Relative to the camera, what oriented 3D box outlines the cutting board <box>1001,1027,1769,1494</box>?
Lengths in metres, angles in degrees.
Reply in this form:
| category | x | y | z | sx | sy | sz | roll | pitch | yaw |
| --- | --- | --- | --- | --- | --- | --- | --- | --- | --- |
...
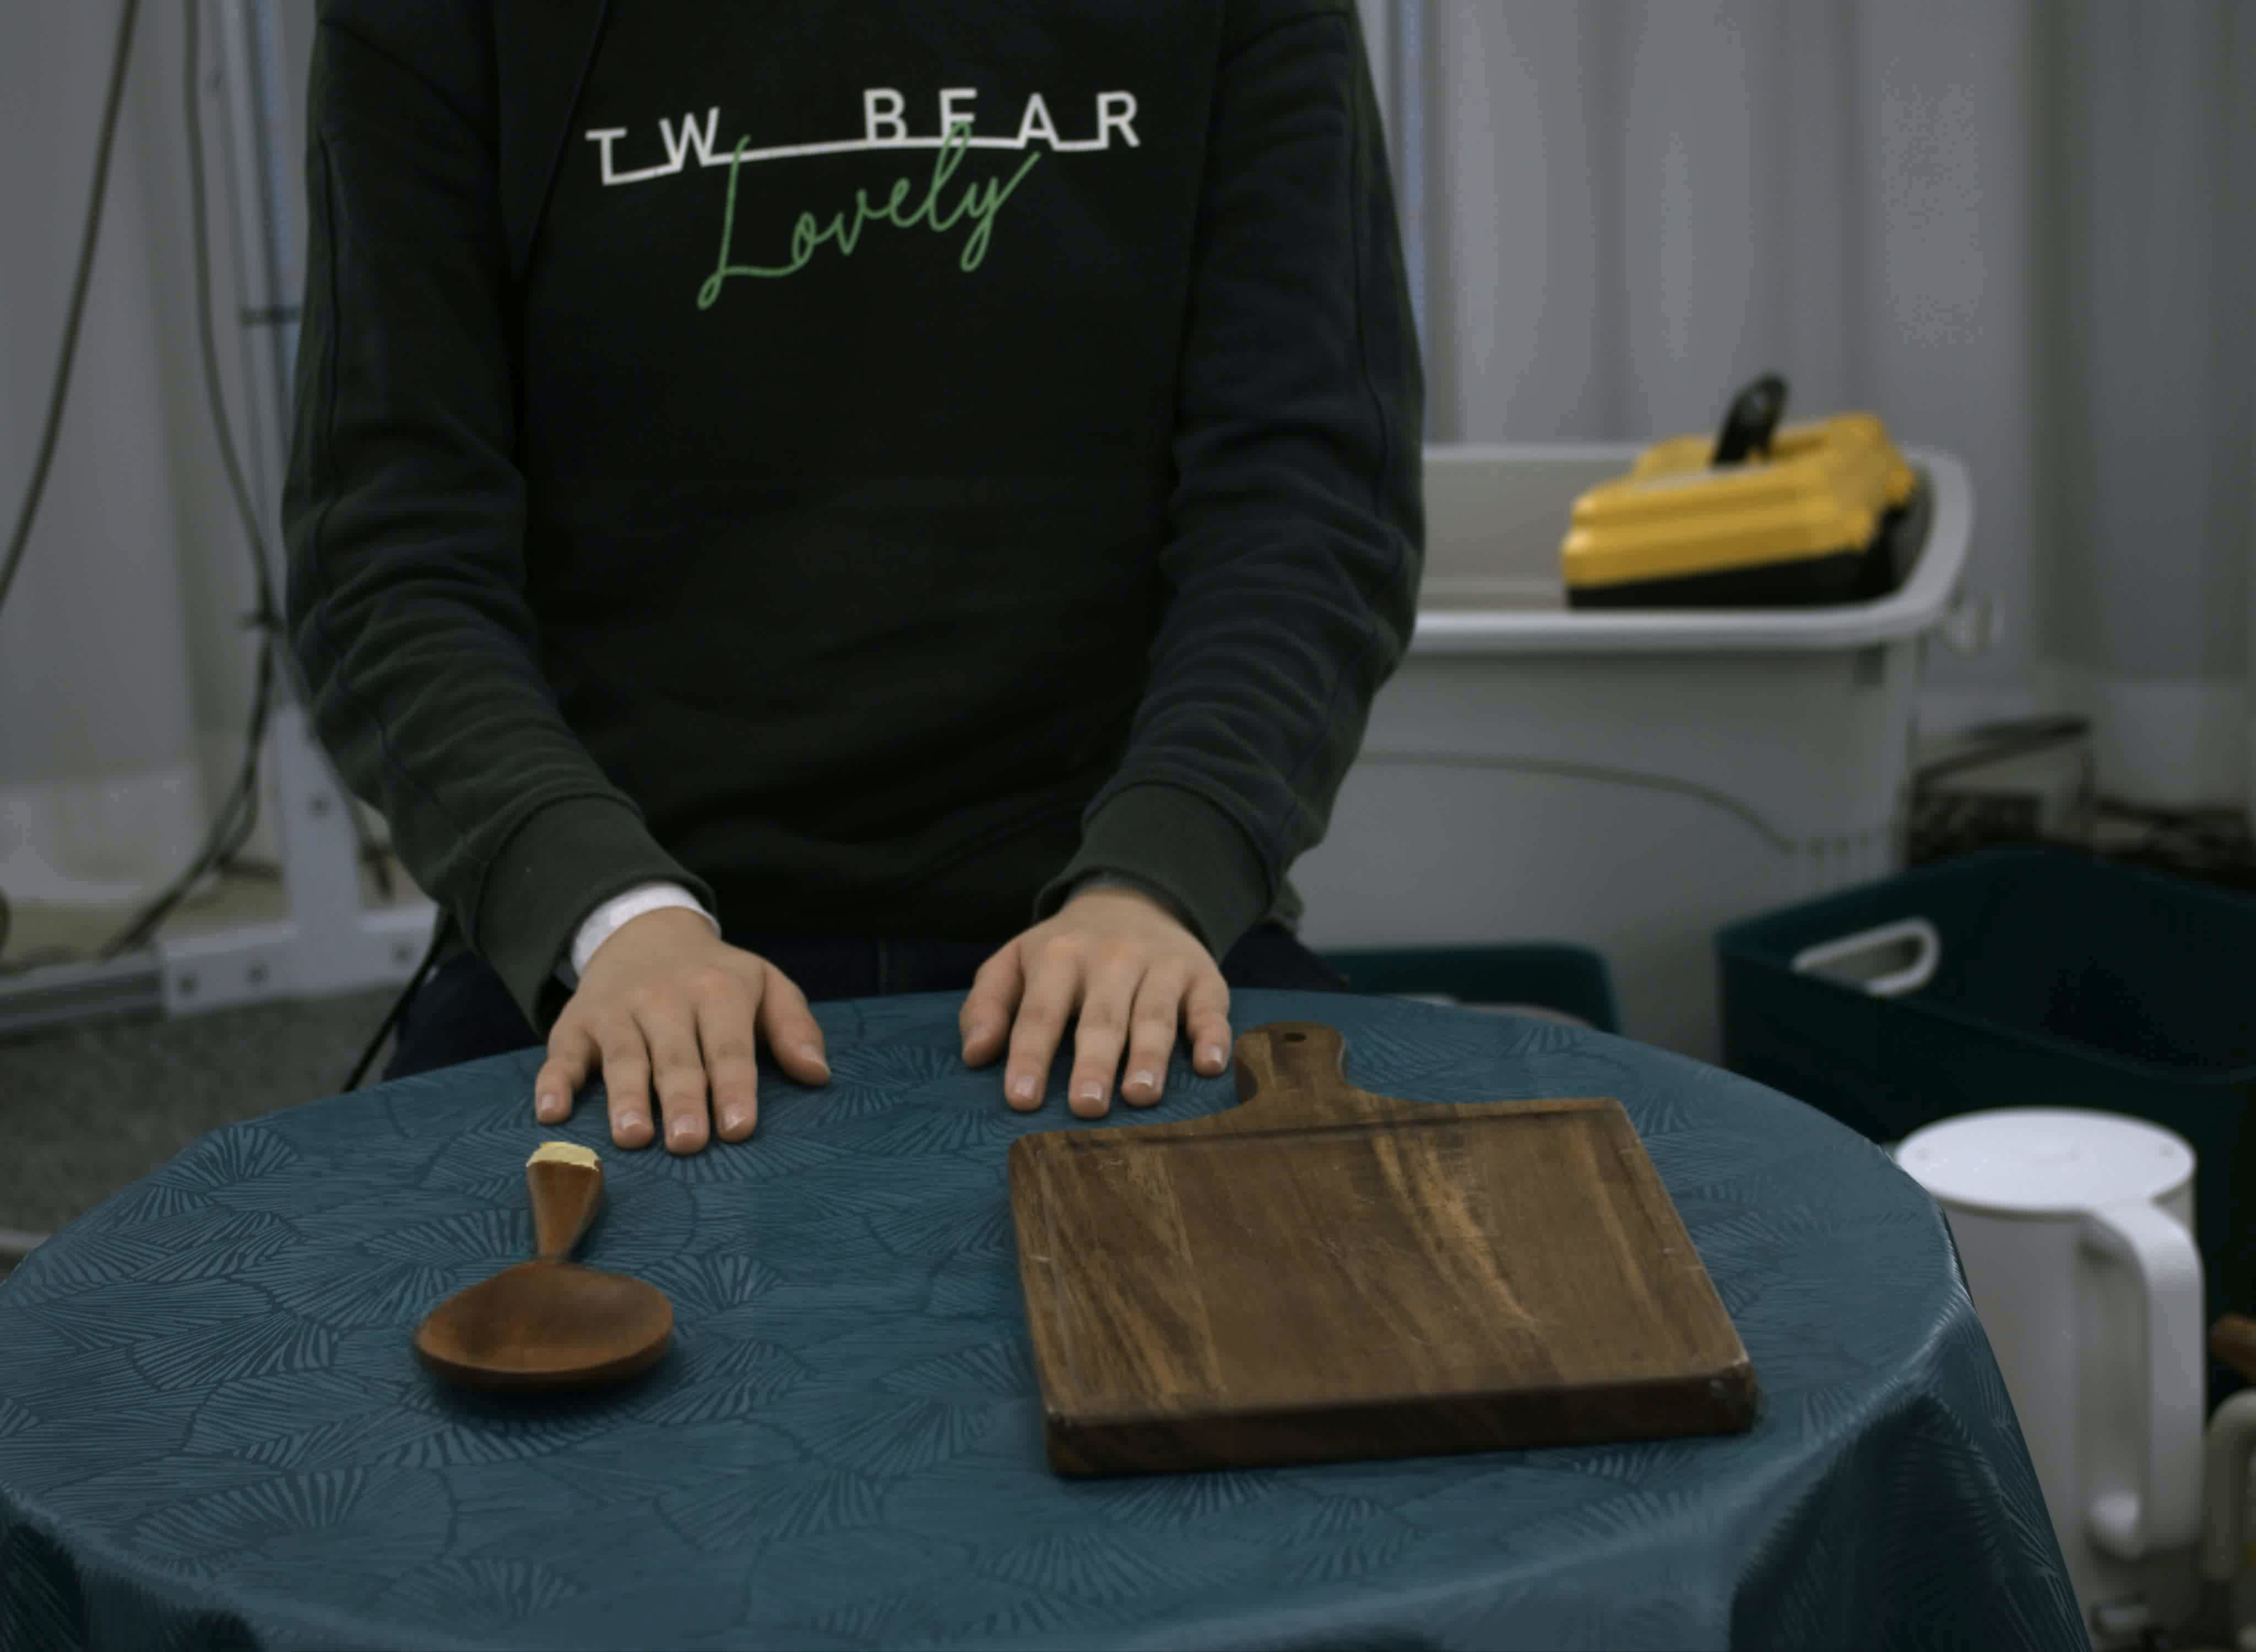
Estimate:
| category | x | y | z | sx | sy | sz | roll | pitch | yaw |
| --- | --- | --- | --- | --- | --- | --- | --- | --- | --- |
| cutting board | 0.064 | 0.121 | 1.648 | 0.200 | 0.023 | 0.354 | -5 | 15 | -3 |

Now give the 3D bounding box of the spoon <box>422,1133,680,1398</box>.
| category | x | y | z | sx | sy | sz | roll | pitch | yaw |
| --- | --- | --- | --- | --- | --- | --- | --- | --- | --- |
| spoon | -0.171 | 0.133 | 1.644 | 0.075 | 0.017 | 0.217 | -6 | 16 | -3 |
